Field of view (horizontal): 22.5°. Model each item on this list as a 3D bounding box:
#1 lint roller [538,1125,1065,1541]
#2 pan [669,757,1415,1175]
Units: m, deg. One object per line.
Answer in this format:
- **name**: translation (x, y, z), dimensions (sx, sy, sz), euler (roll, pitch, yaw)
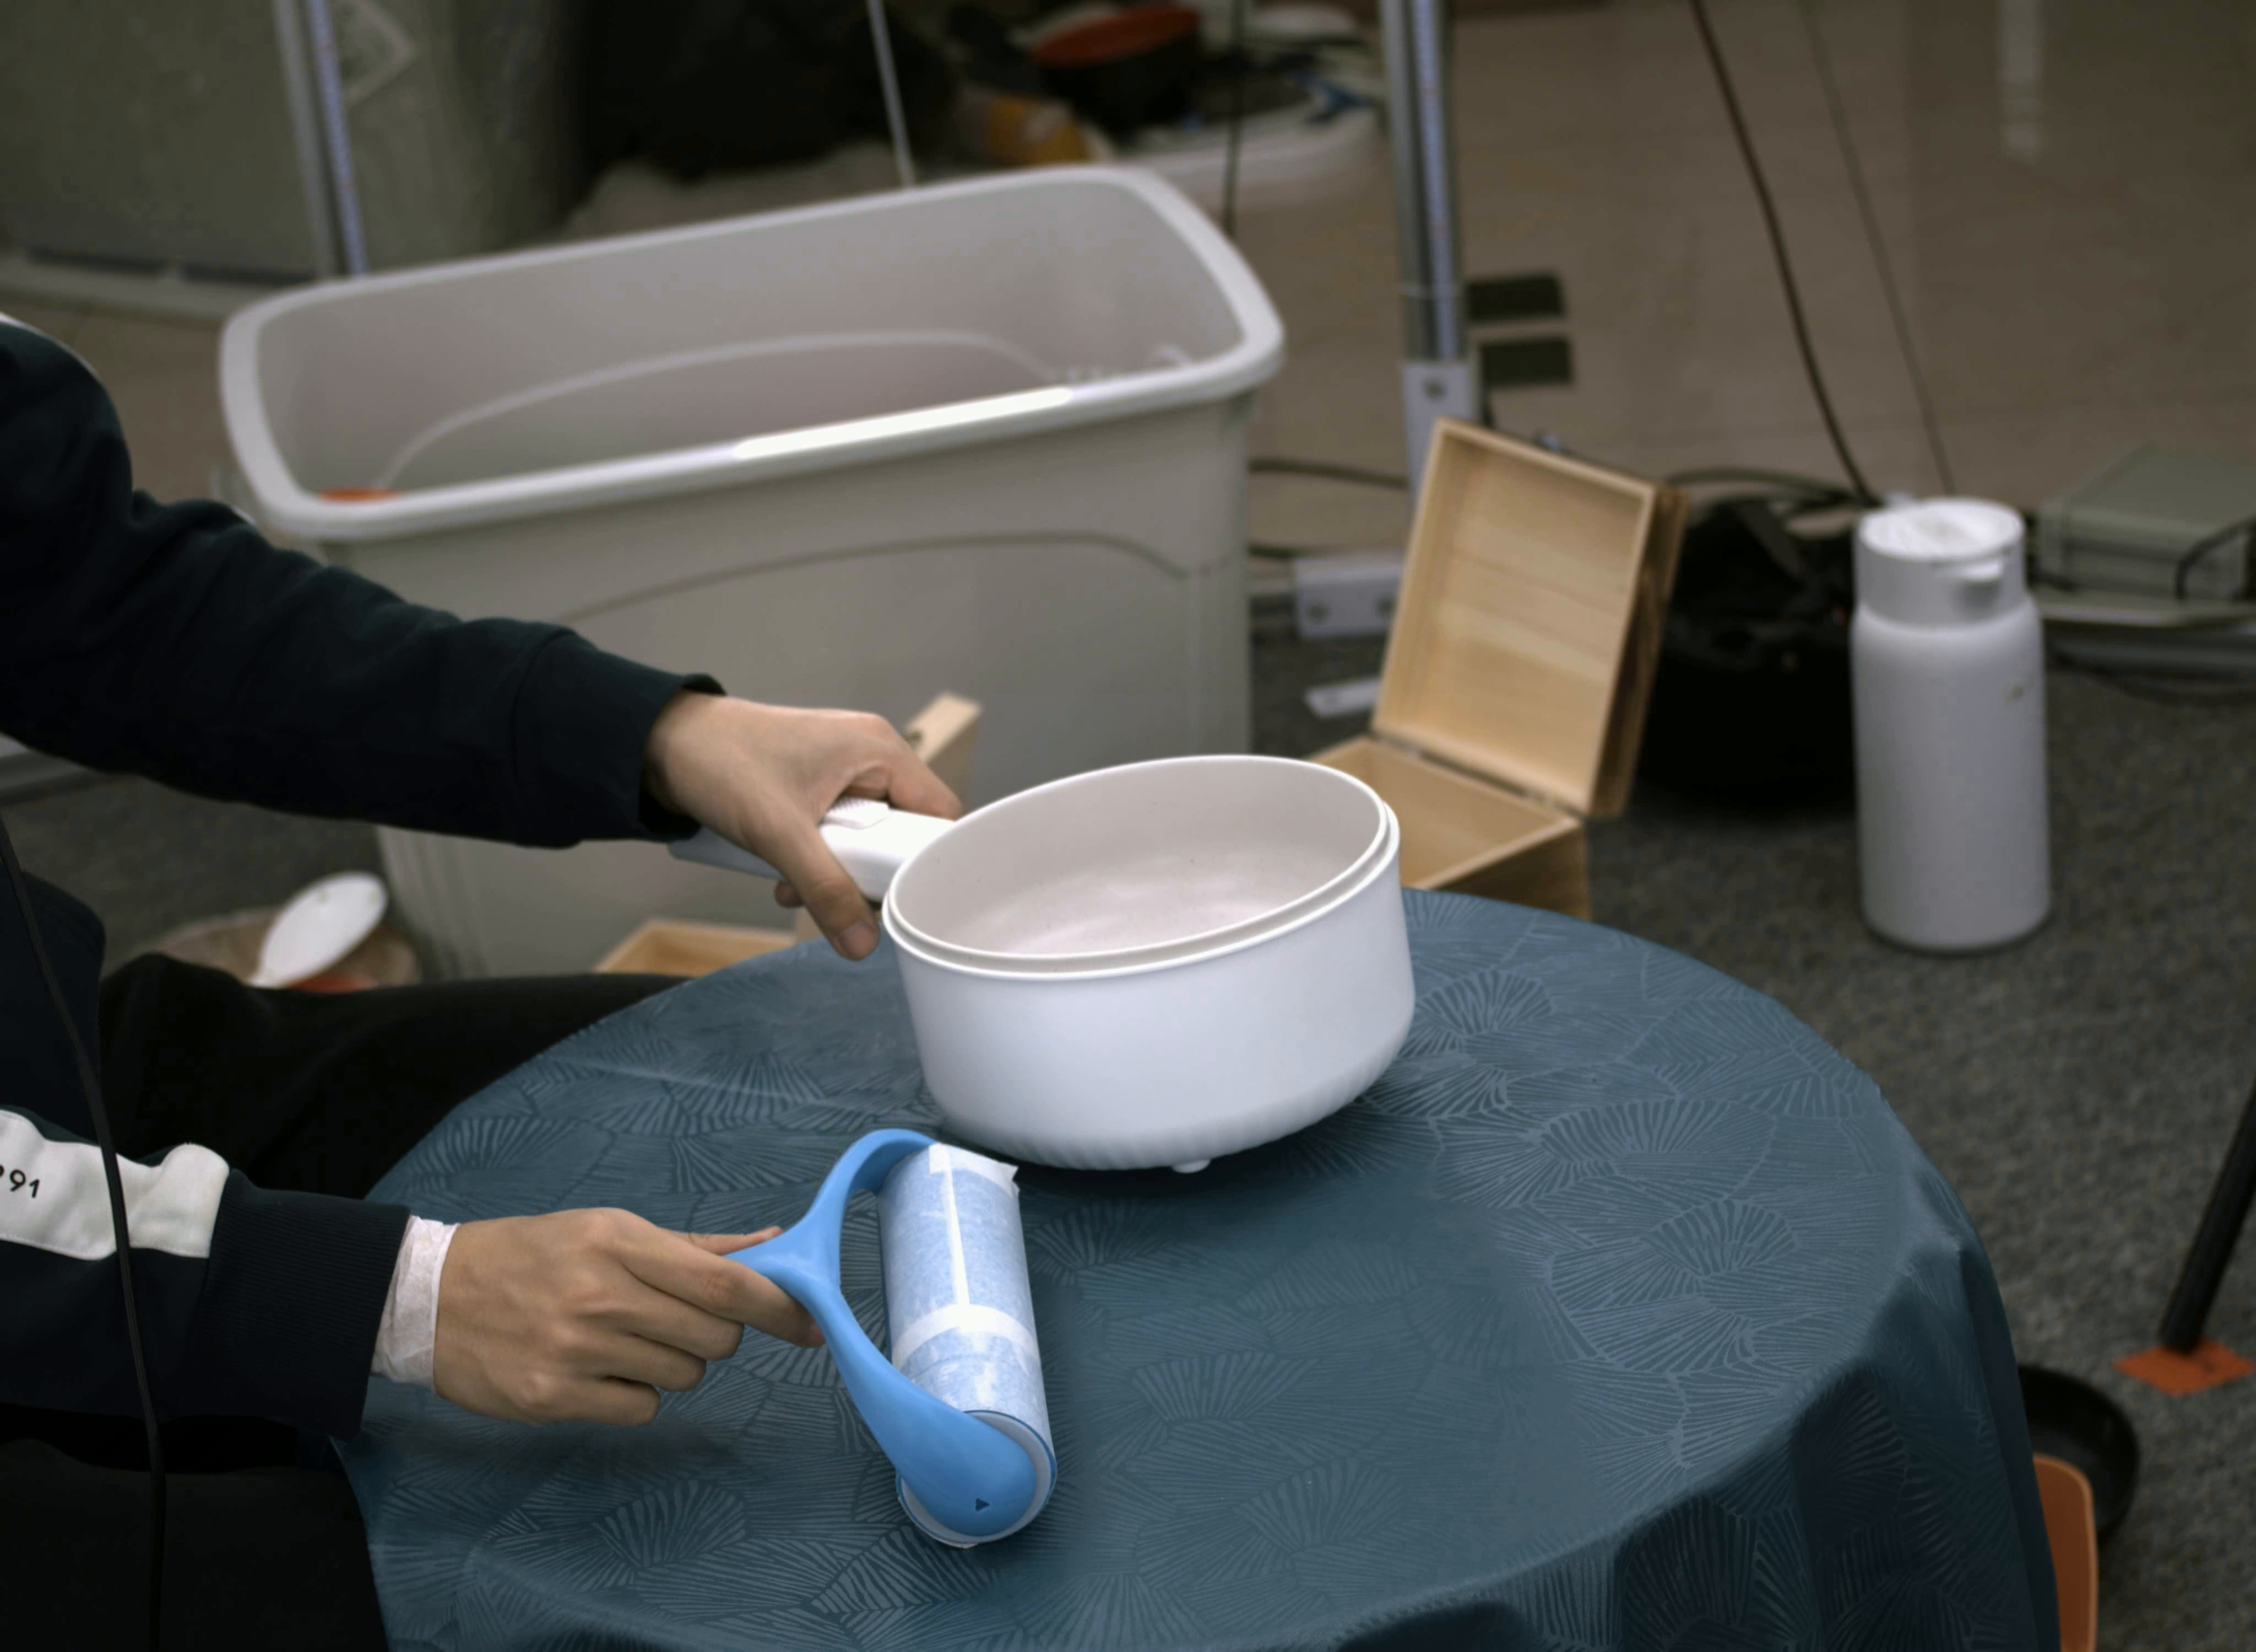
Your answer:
- **lint roller**: translation (-0.116, 0.177, 1.996), dimensions (0.180, 0.069, 0.225), euler (1, 26, -9)
- **pan**: translation (-0.044, 0.048, 2.237), dimensions (0.353, 0.103, 0.199), euler (9, 30, 43)
